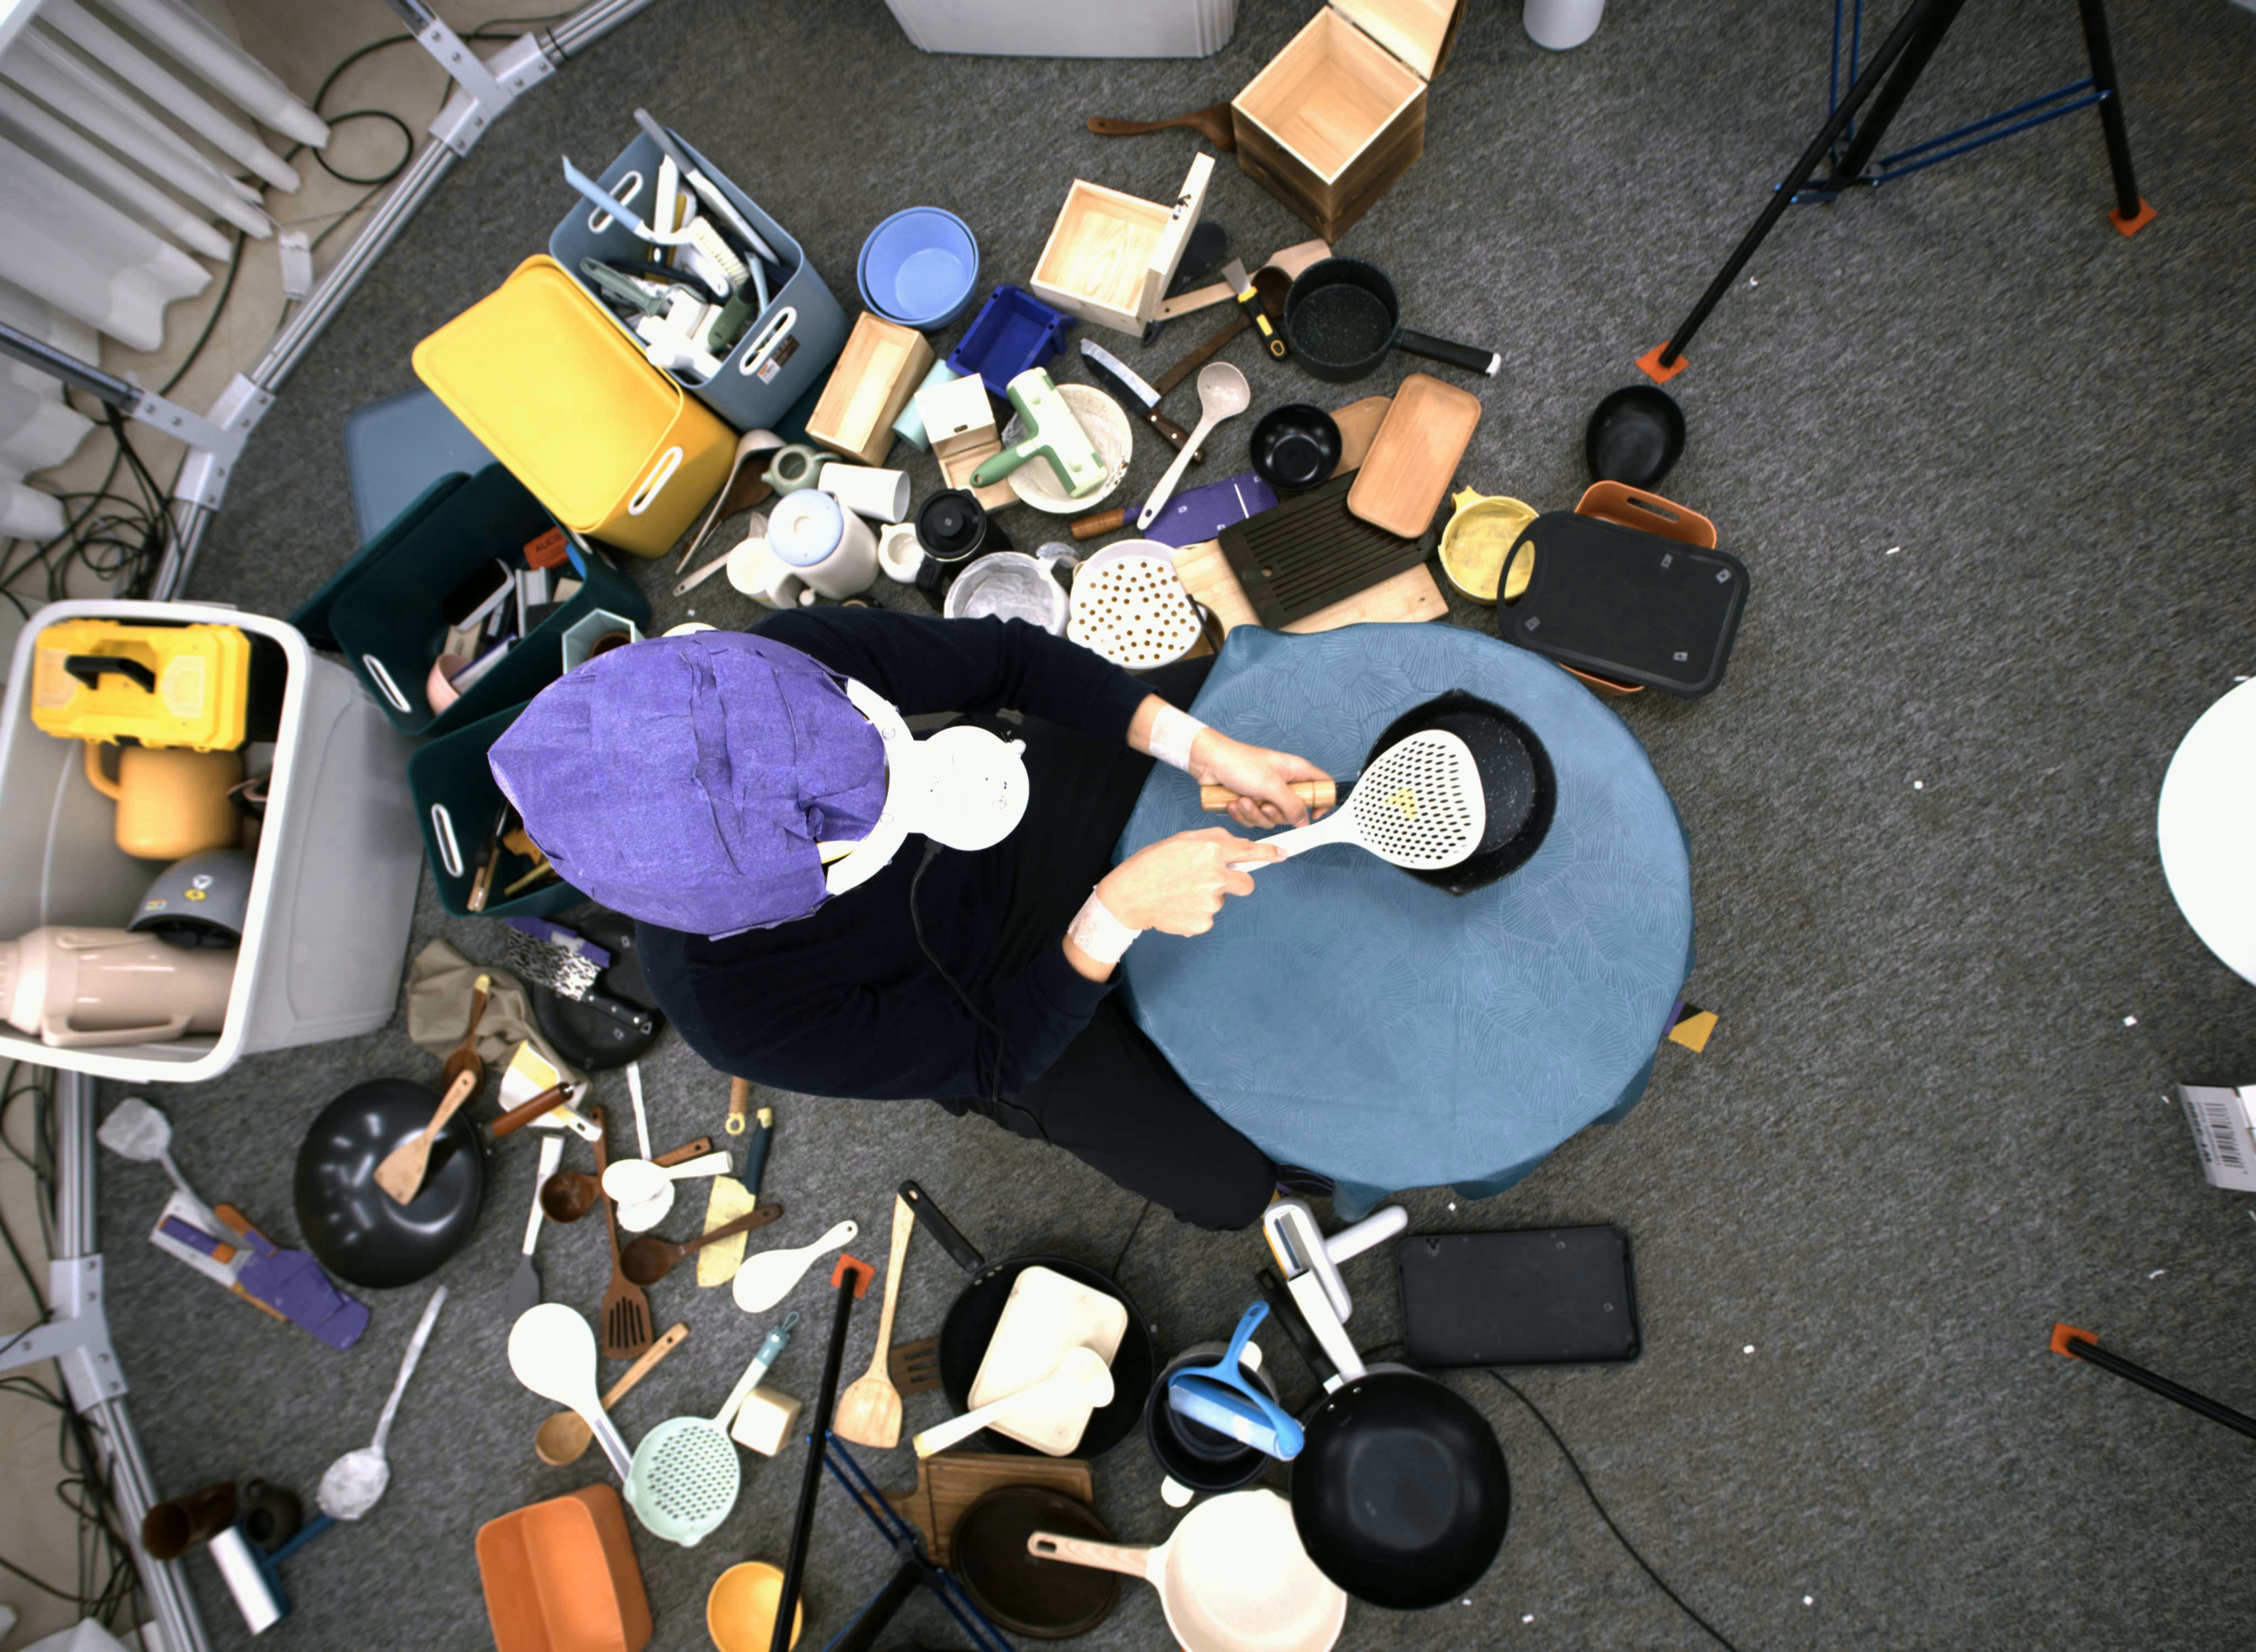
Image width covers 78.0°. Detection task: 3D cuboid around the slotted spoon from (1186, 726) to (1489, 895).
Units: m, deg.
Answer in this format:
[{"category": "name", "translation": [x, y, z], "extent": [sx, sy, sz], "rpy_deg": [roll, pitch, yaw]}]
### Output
[{"category": "slotted spoon", "translation": [0.203, 0.000, 1.302], "extent": [0.343, 0.050, 0.137], "rpy_deg": [-18, 99, -30]}]

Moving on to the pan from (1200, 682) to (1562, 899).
[{"category": "pan", "translation": [0.246, -0.035, 1.354], "extent": [0.344, 0.107, 0.209], "rpy_deg": [-2, 99, 15]}]
